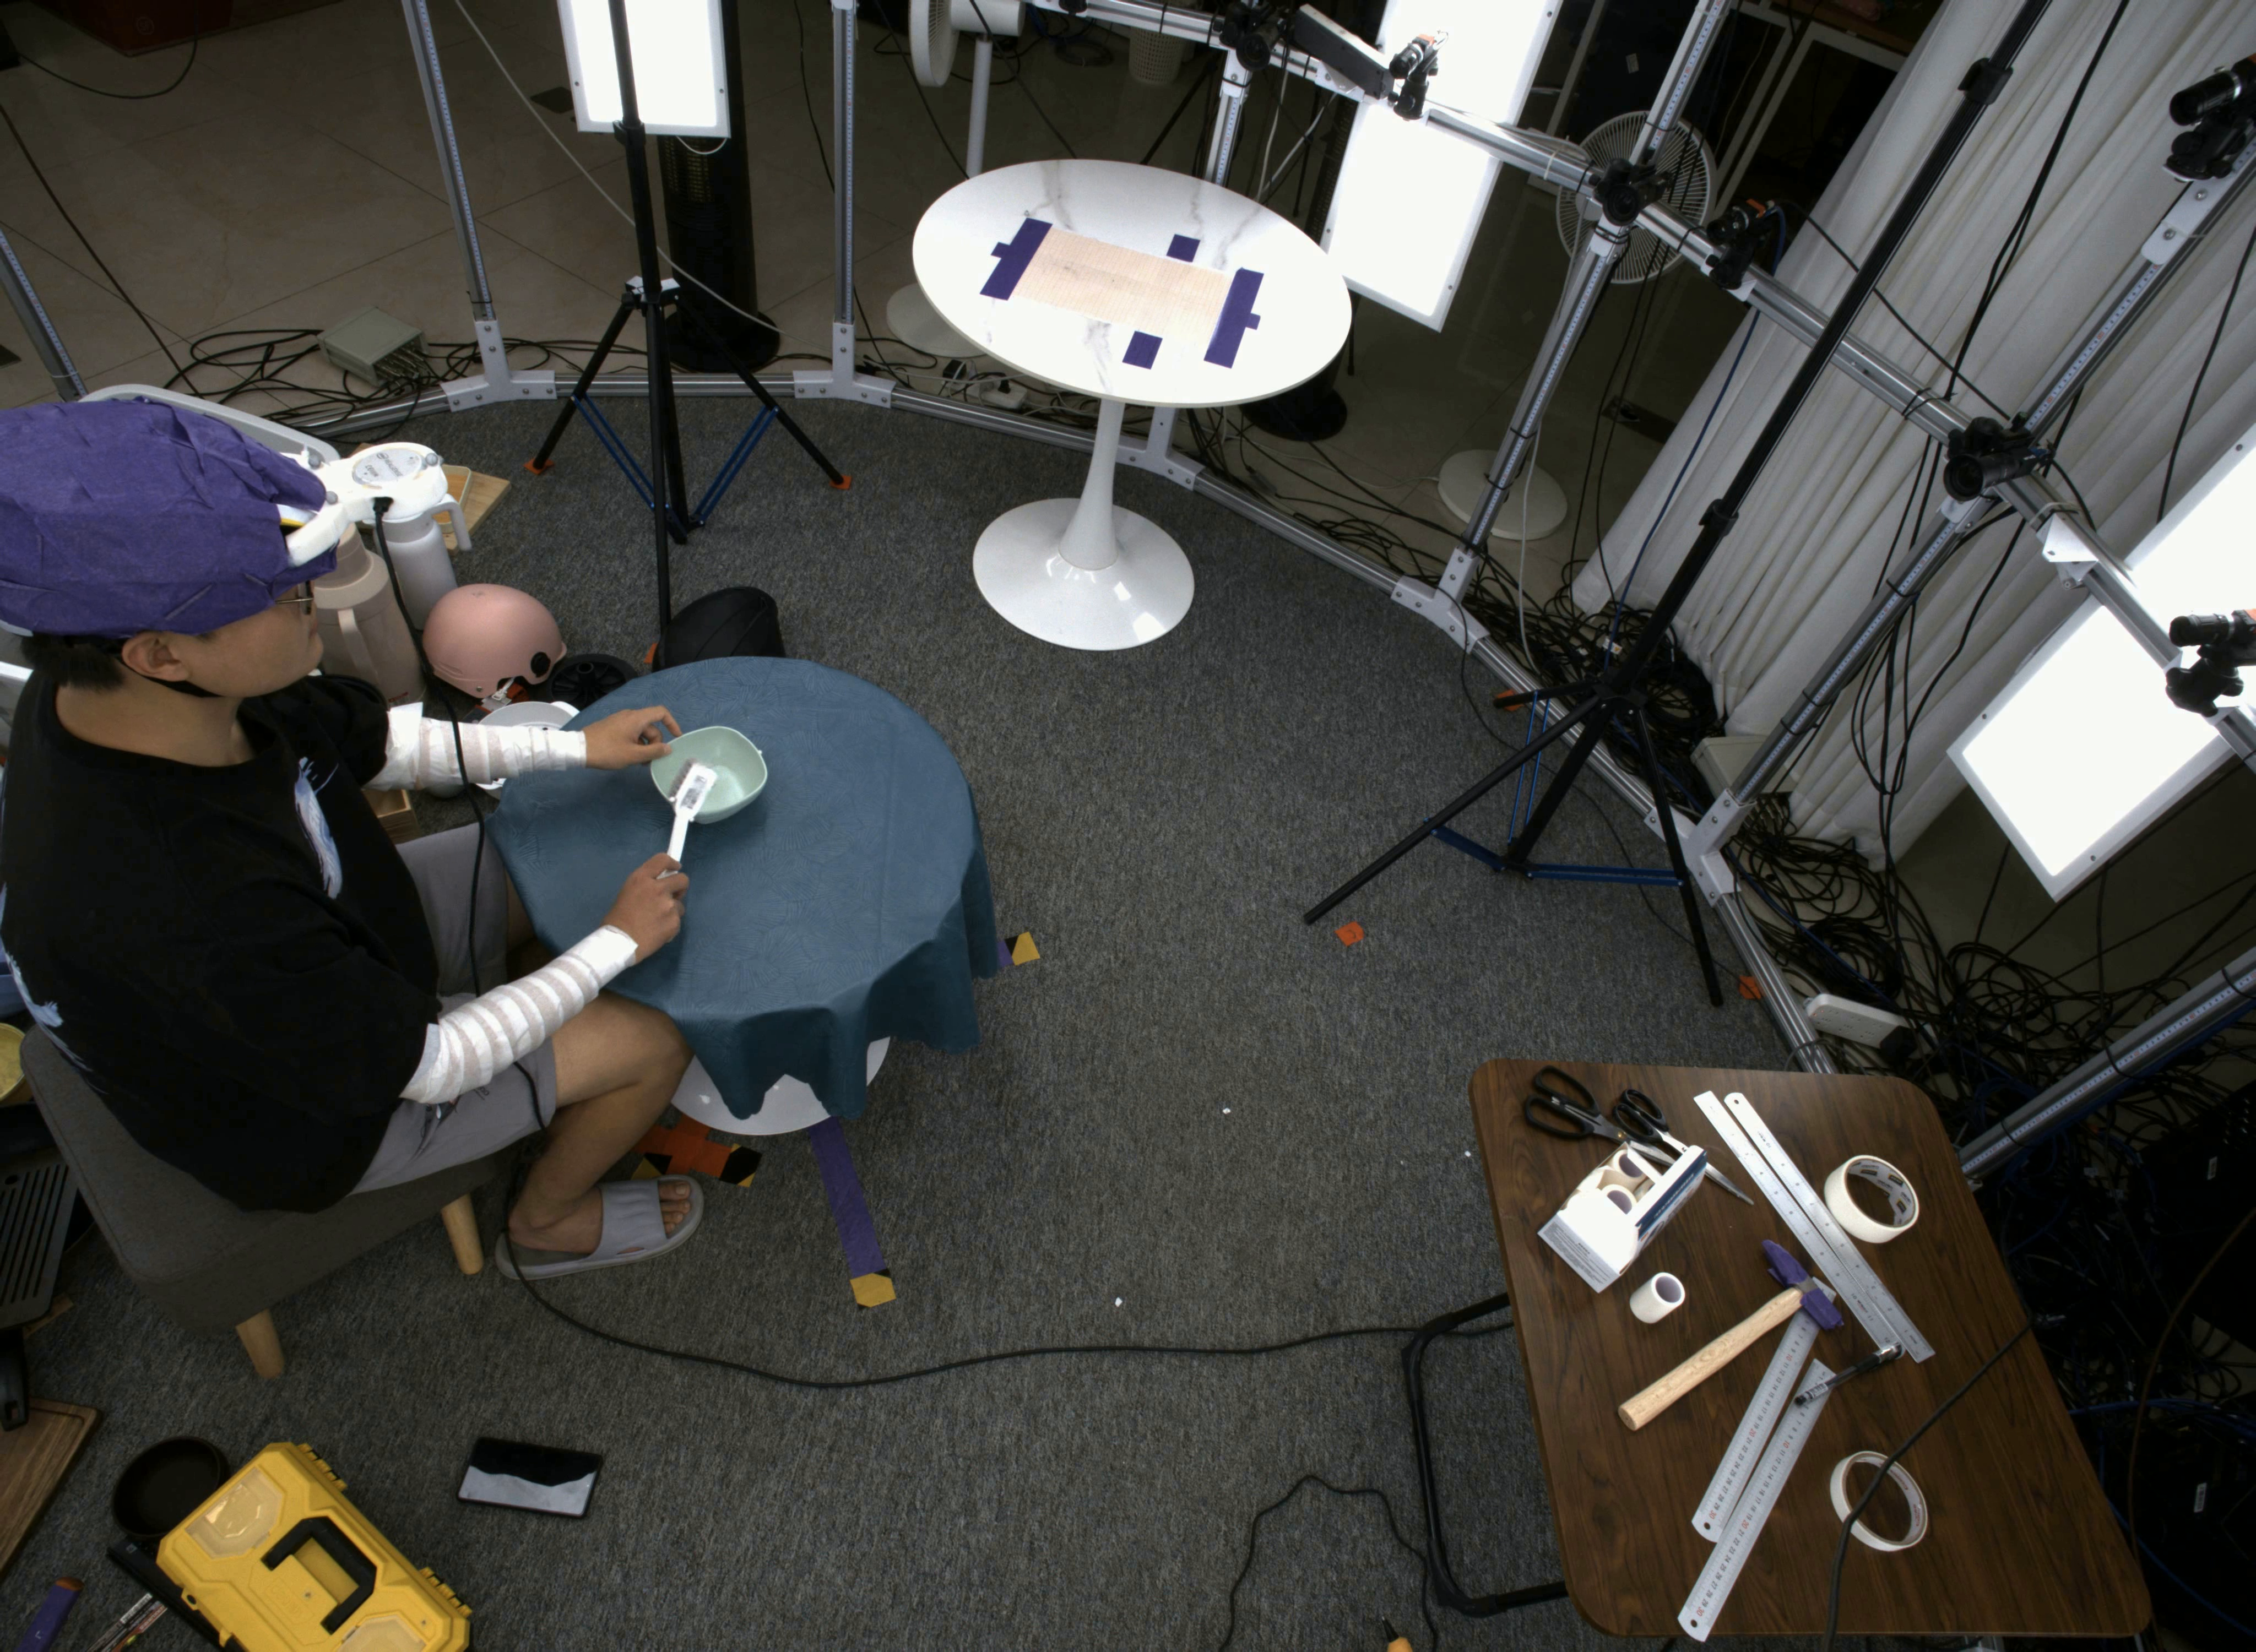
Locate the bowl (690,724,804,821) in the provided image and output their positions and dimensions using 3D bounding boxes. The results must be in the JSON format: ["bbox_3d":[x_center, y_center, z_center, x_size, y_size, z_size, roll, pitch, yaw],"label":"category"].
[{"bbox_3d":[-0.507,-0.063,1.724,0.151,0.060,0.148,7,51,-7],"label":"bowl"}]

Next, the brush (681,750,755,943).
[{"bbox_3d":[-0.527,0.023,1.621,0.048,0.035,0.245,11,81,36],"label":"brush"}]
